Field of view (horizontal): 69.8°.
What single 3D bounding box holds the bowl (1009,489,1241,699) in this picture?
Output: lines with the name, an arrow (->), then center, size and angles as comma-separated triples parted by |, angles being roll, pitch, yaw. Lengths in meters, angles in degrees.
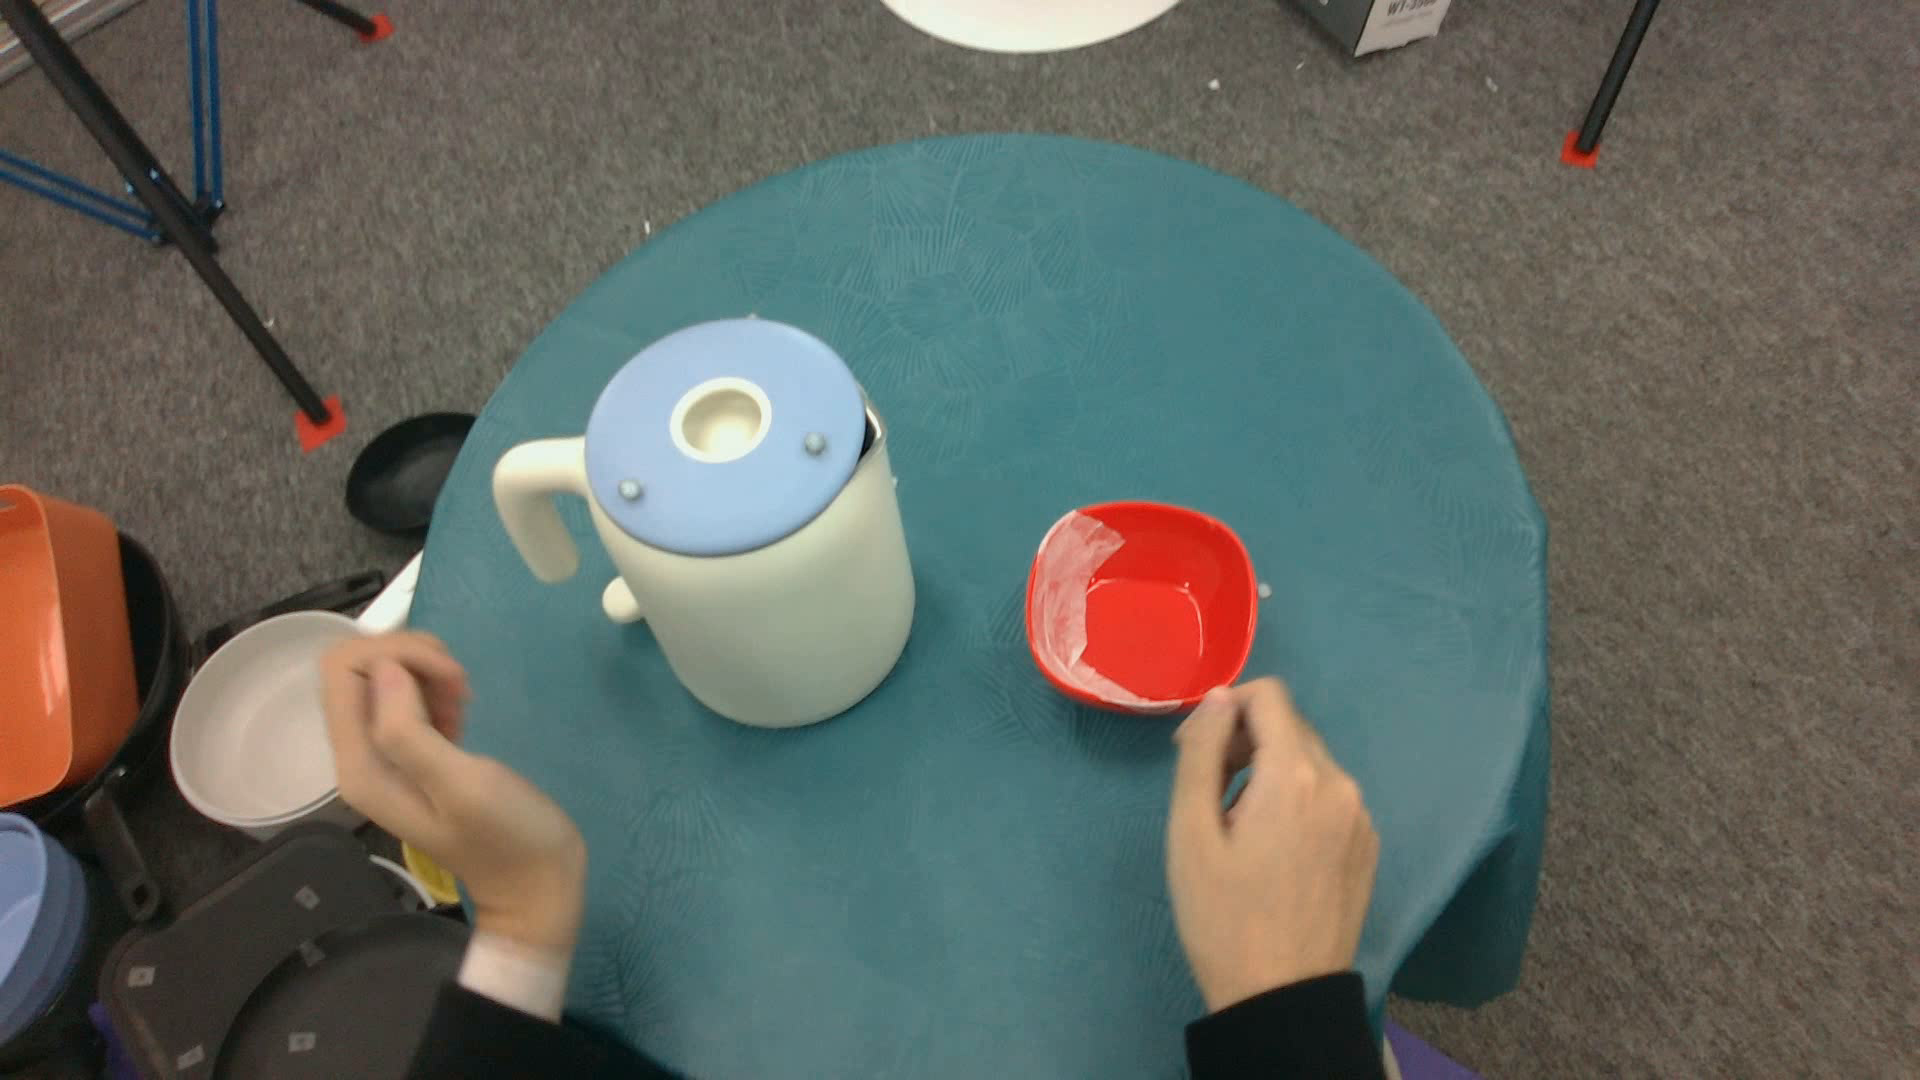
bowl -> 0.079, 0.034, 0.677 | 0.119, 0.051, 0.119 | -1, 57, 1

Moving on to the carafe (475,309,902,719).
carafe -> -0.125, -0.006, 0.647 | 0.191, 0.182, 0.133 | -3, 58, 5
